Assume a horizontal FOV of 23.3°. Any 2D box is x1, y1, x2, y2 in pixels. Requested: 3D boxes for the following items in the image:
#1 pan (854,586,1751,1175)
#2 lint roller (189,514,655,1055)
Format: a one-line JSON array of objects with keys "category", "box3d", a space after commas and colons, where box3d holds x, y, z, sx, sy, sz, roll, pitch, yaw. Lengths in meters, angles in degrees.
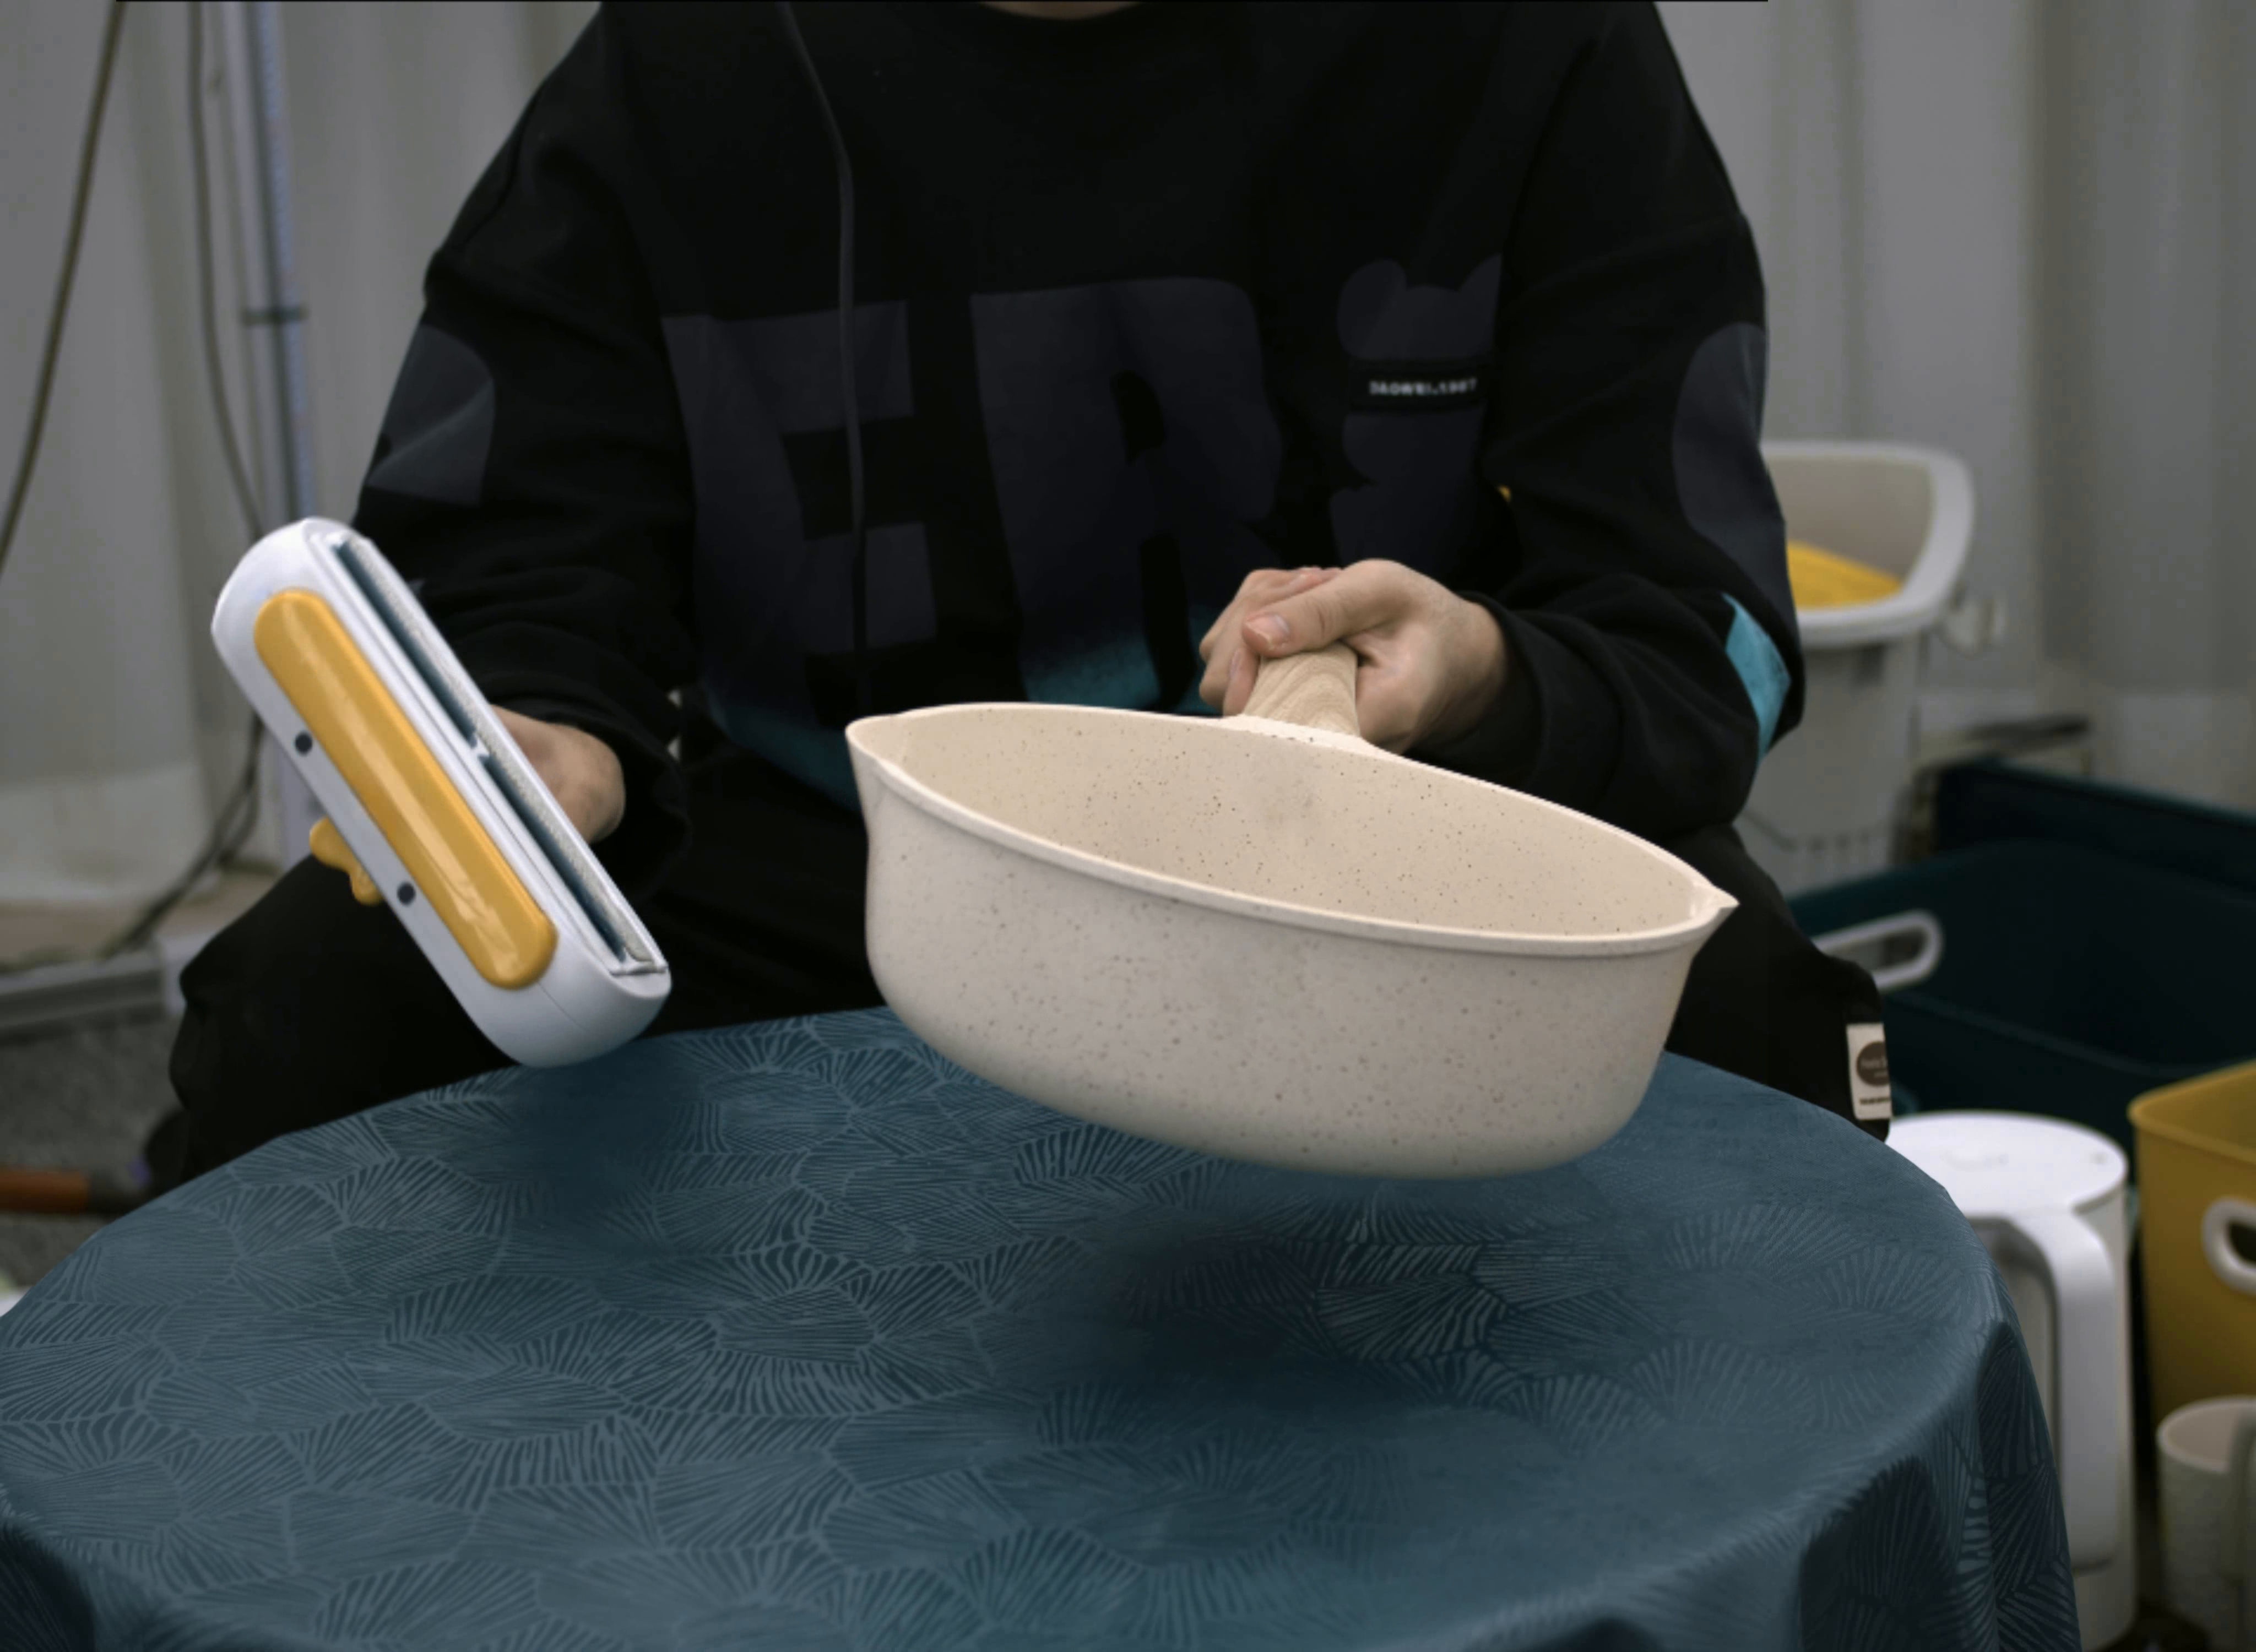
[{"category": "pan", "box3d": [0.049, 0.010, 1.677, 0.262, 0.102, 0.437, 8, 11, 0]}, {"category": "lint roller", "box3d": [-0.209, -0.001, 1.748, 0.074, 0.194, 0.191, -42, -15, 5]}]
